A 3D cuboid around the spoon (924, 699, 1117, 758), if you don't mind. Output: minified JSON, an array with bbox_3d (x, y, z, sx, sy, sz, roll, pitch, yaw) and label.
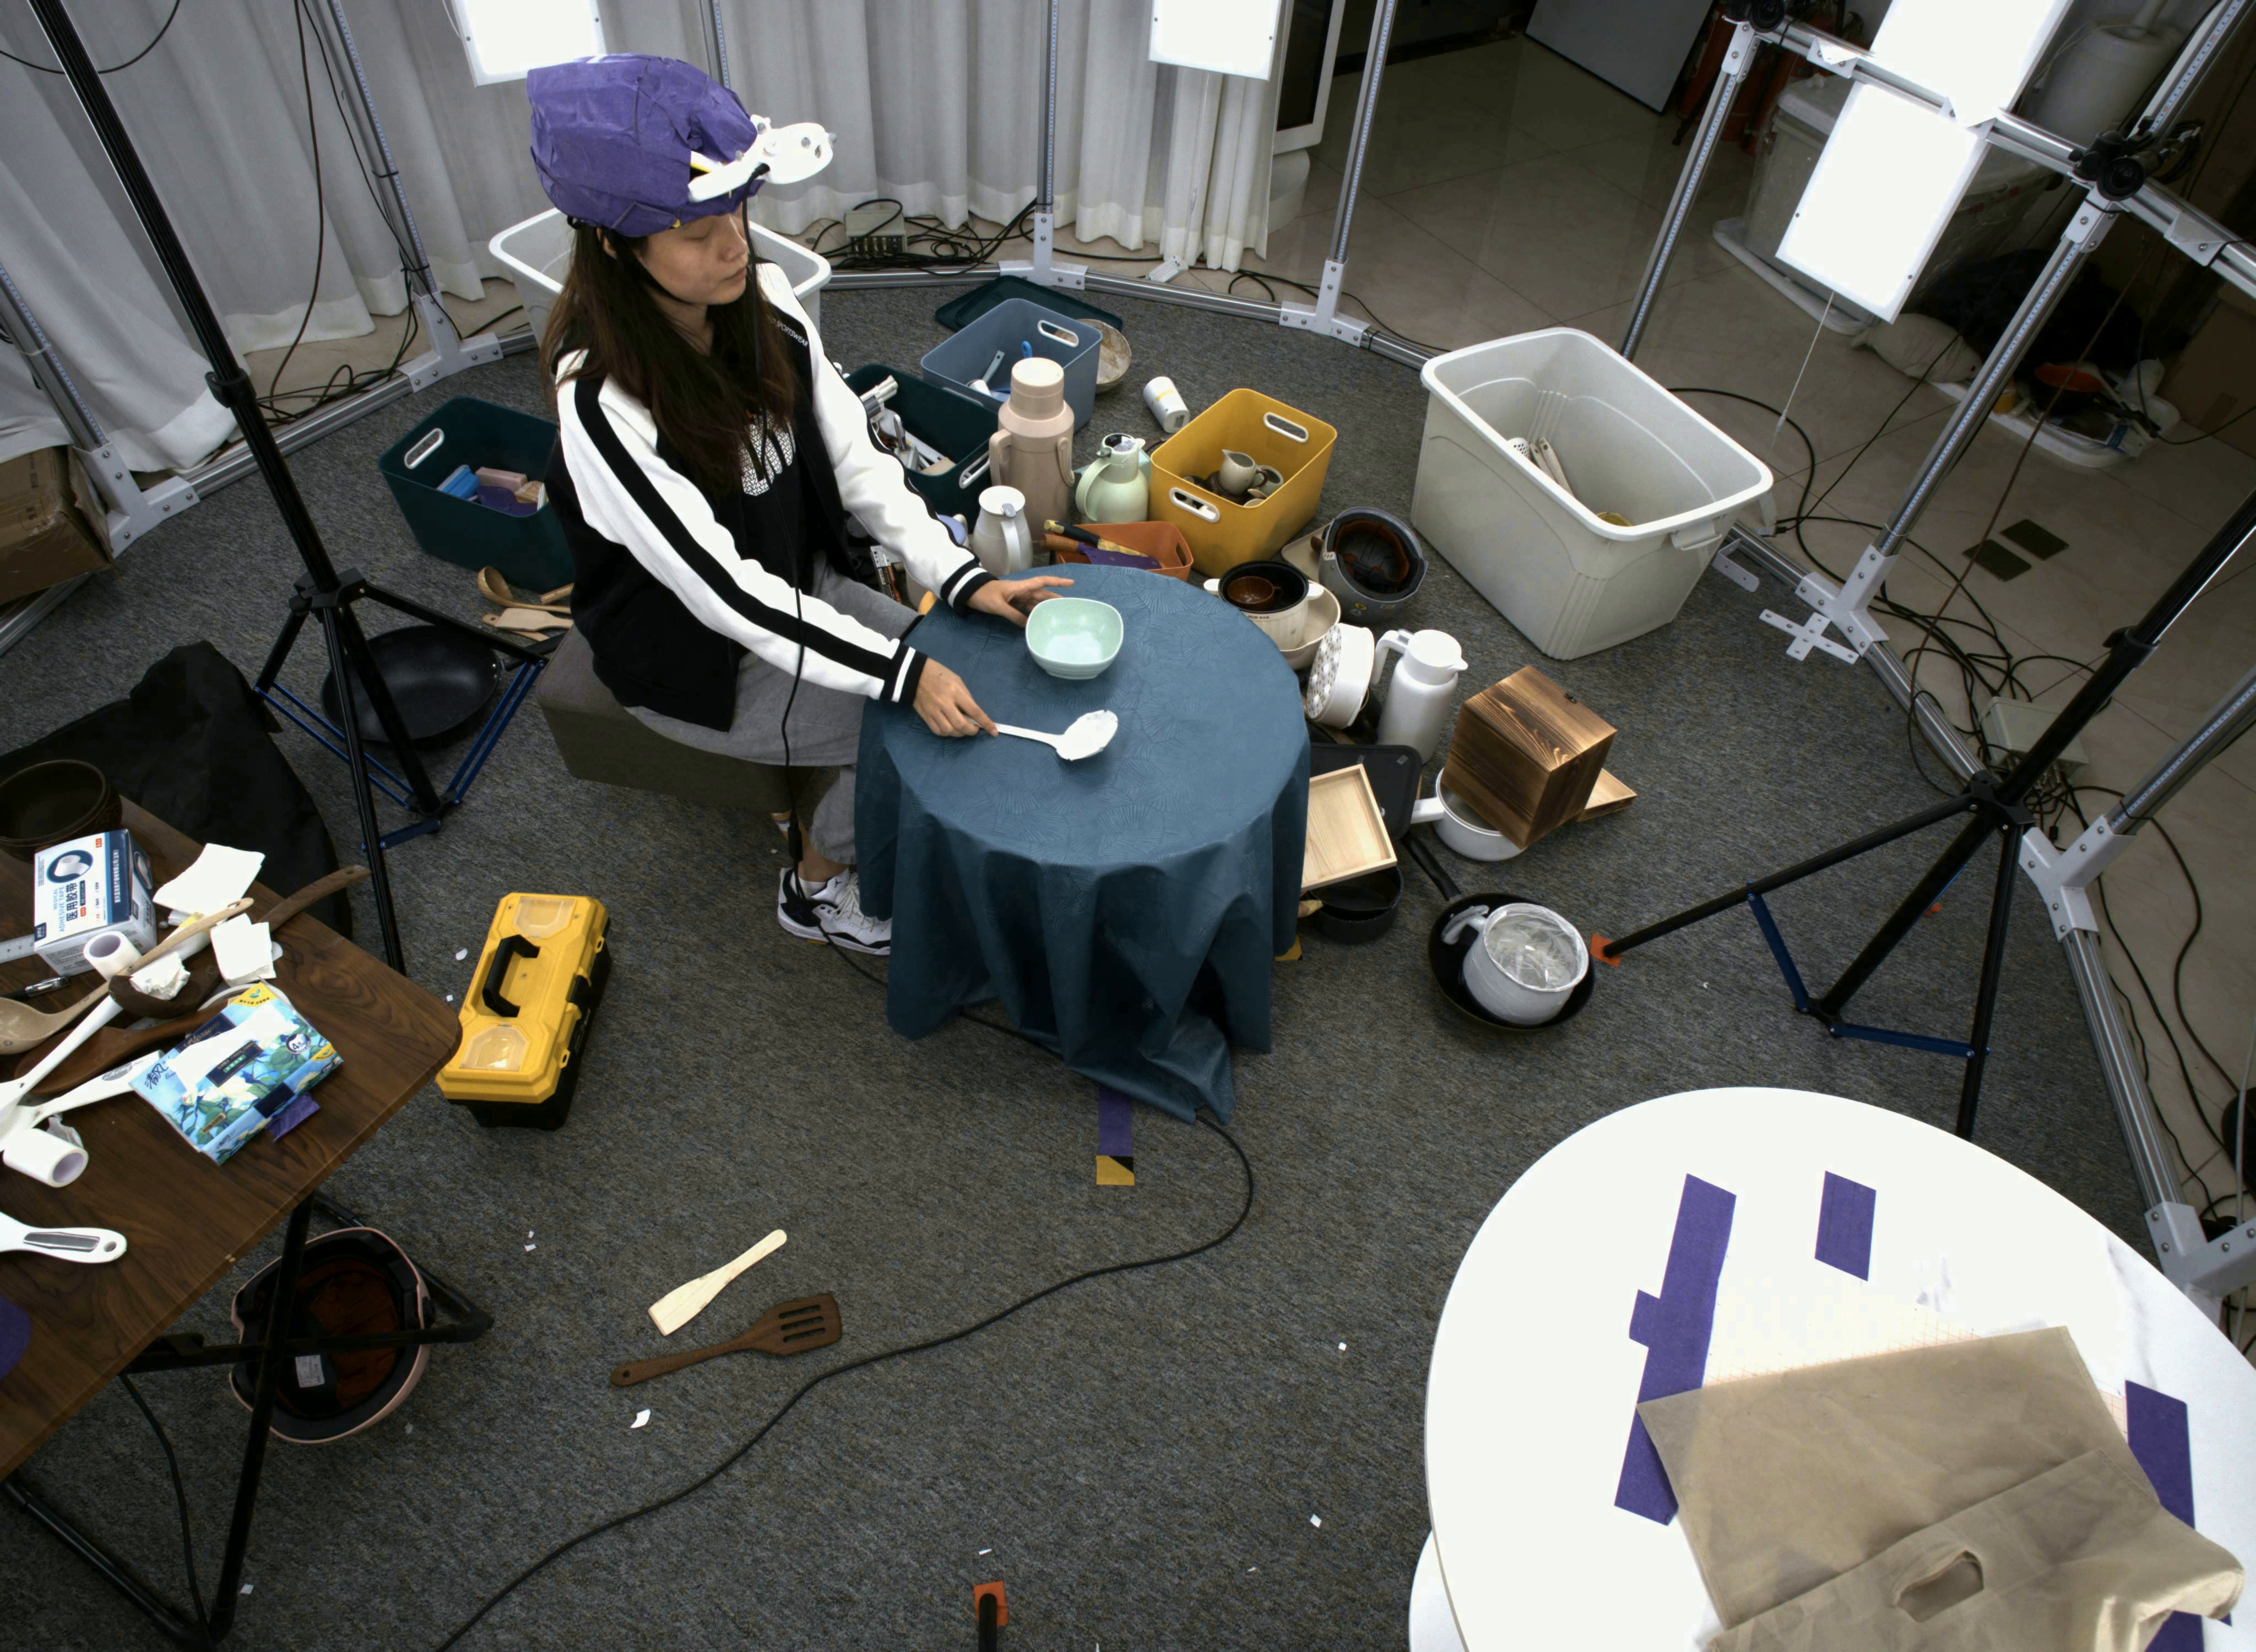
[{"bbox_3d":[-0.149,-0.154,1.757,0.278,0.058,0.103,17,45,11],"label":"spoon"}]

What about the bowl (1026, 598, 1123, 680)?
[{"bbox_3d":[-0.078,-0.261,1.857,0.151,0.057,0.155,2,50,-3],"label":"bowl"}]
